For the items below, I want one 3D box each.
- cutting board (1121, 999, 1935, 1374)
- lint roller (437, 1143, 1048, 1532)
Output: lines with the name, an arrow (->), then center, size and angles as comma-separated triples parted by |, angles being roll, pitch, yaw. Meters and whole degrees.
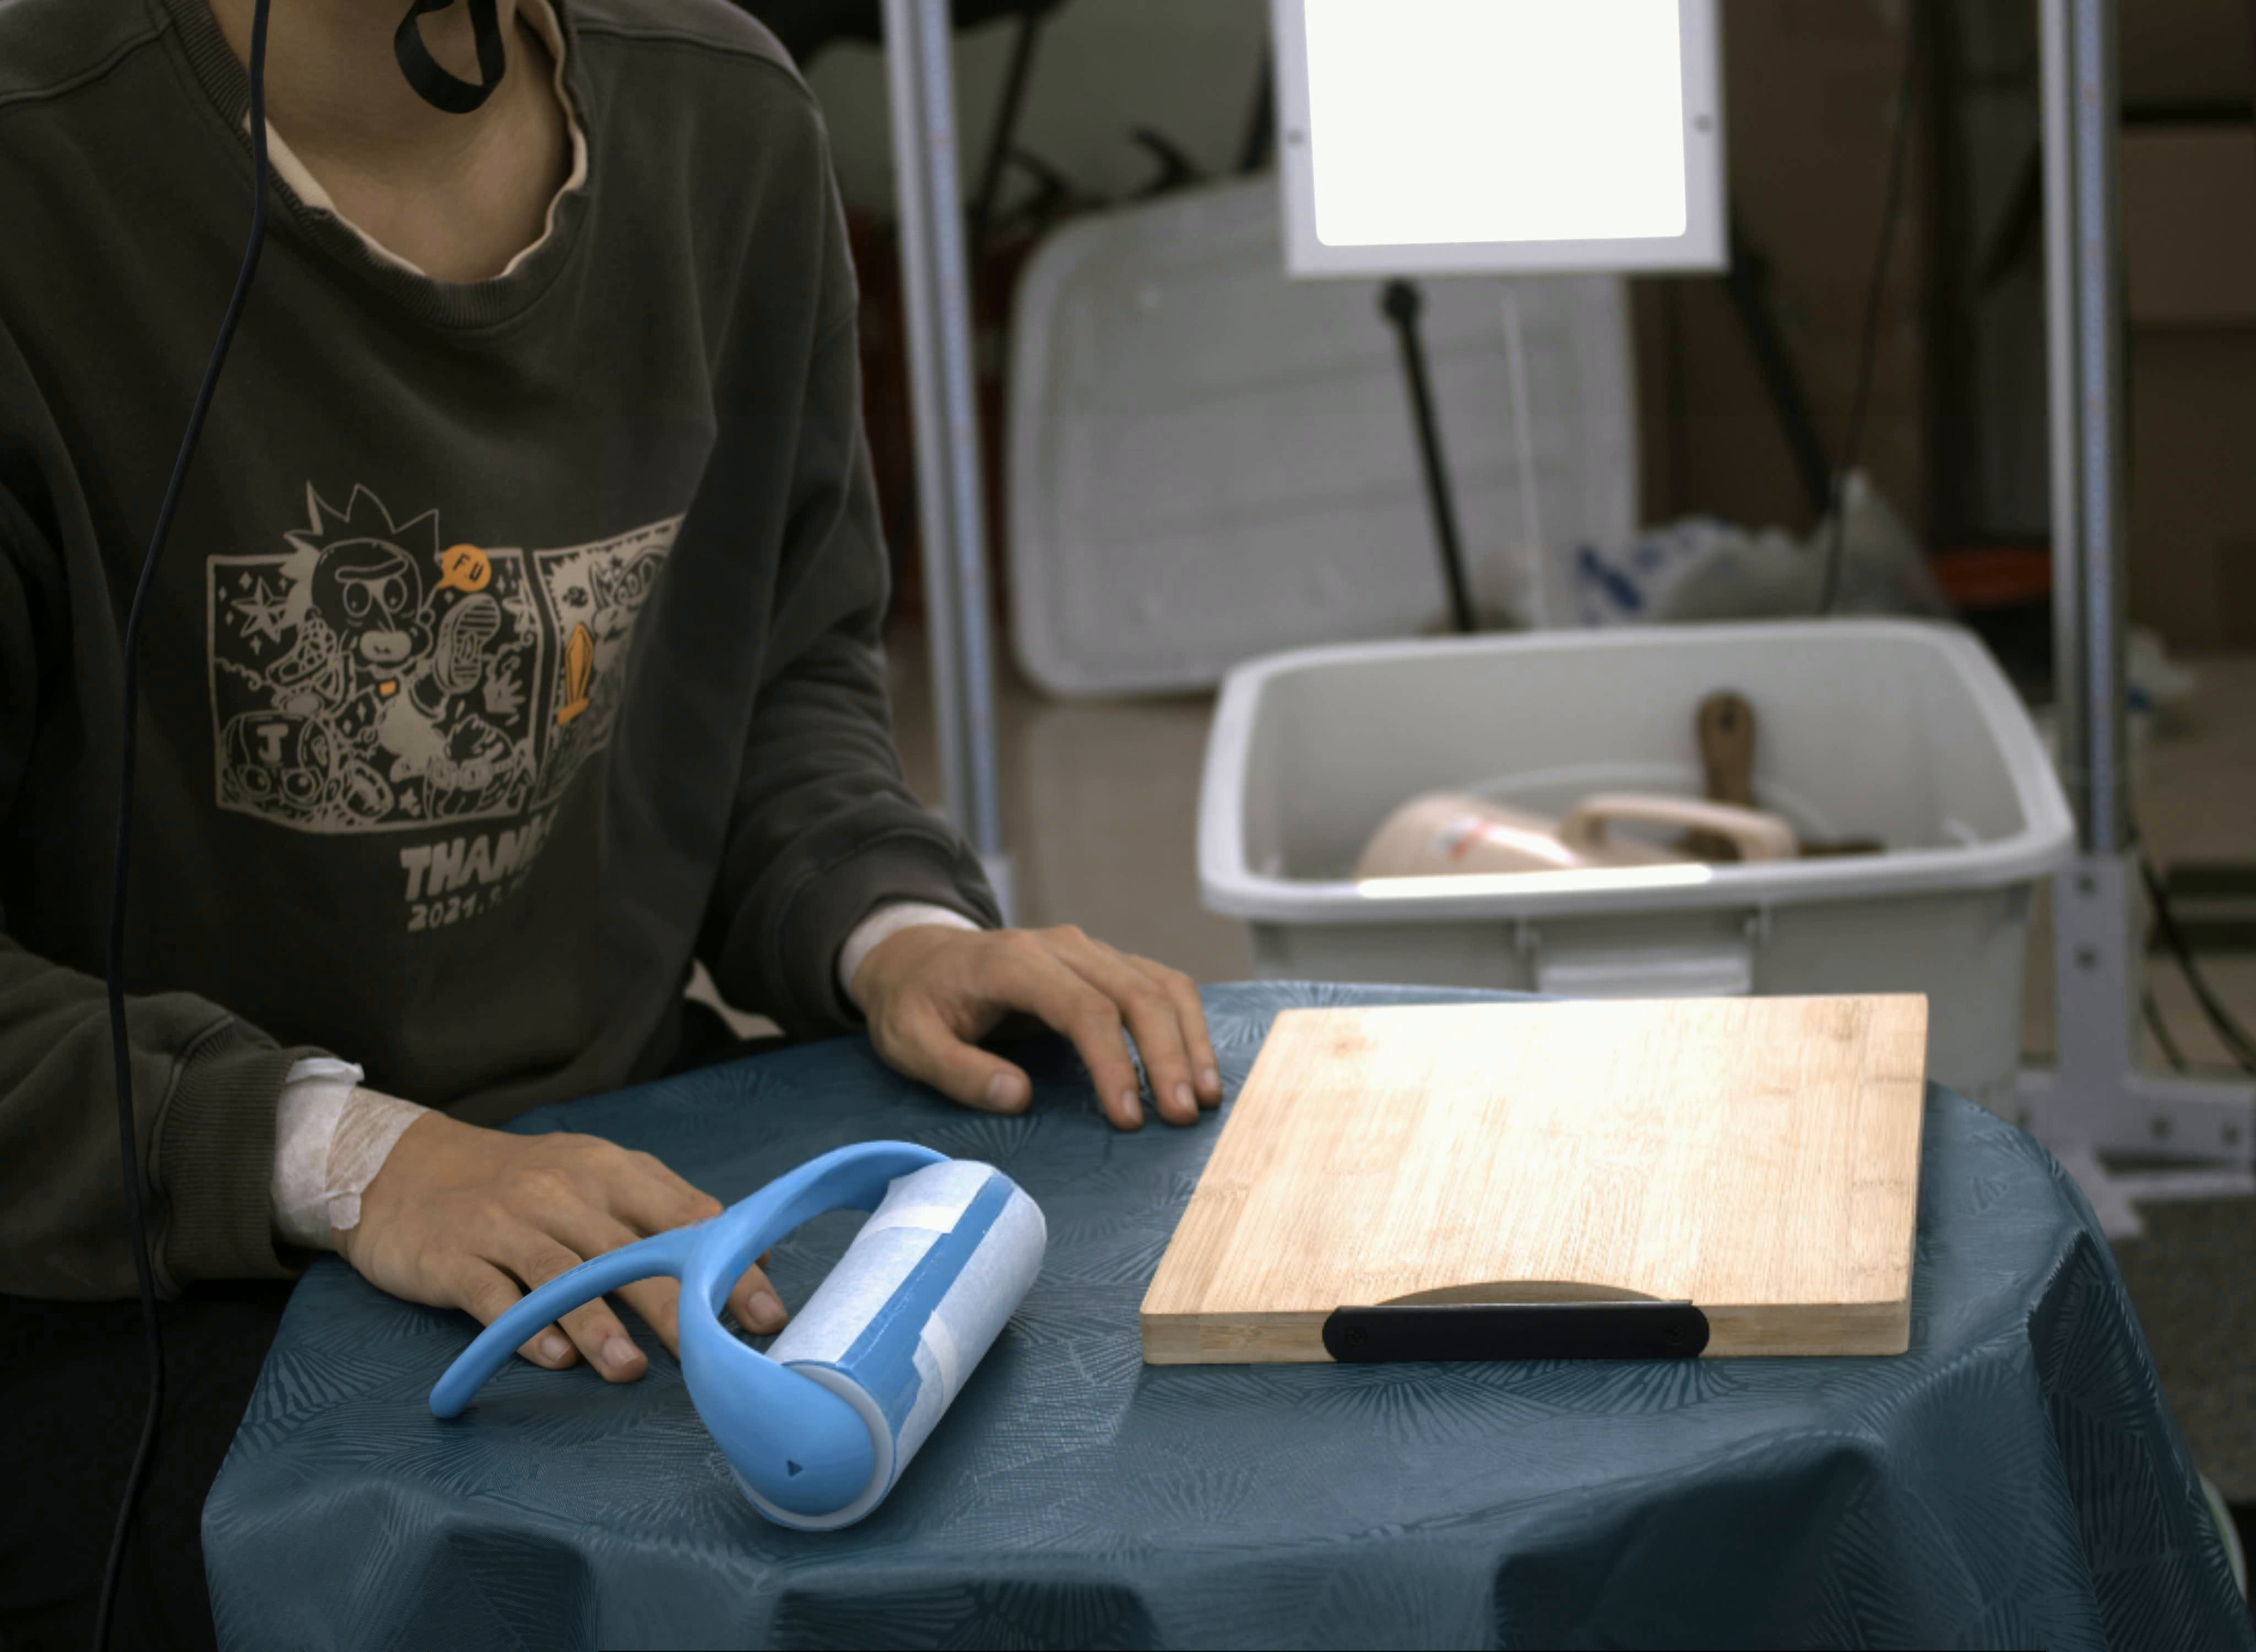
cutting board -> 0.146, 0.117, 1.849 | 0.252, 0.023, 0.345 | -3, 14, 10
lint roller -> -0.130, 0.156, 1.705 | 0.181, 0.068, 0.226 | 0, 16, 12
